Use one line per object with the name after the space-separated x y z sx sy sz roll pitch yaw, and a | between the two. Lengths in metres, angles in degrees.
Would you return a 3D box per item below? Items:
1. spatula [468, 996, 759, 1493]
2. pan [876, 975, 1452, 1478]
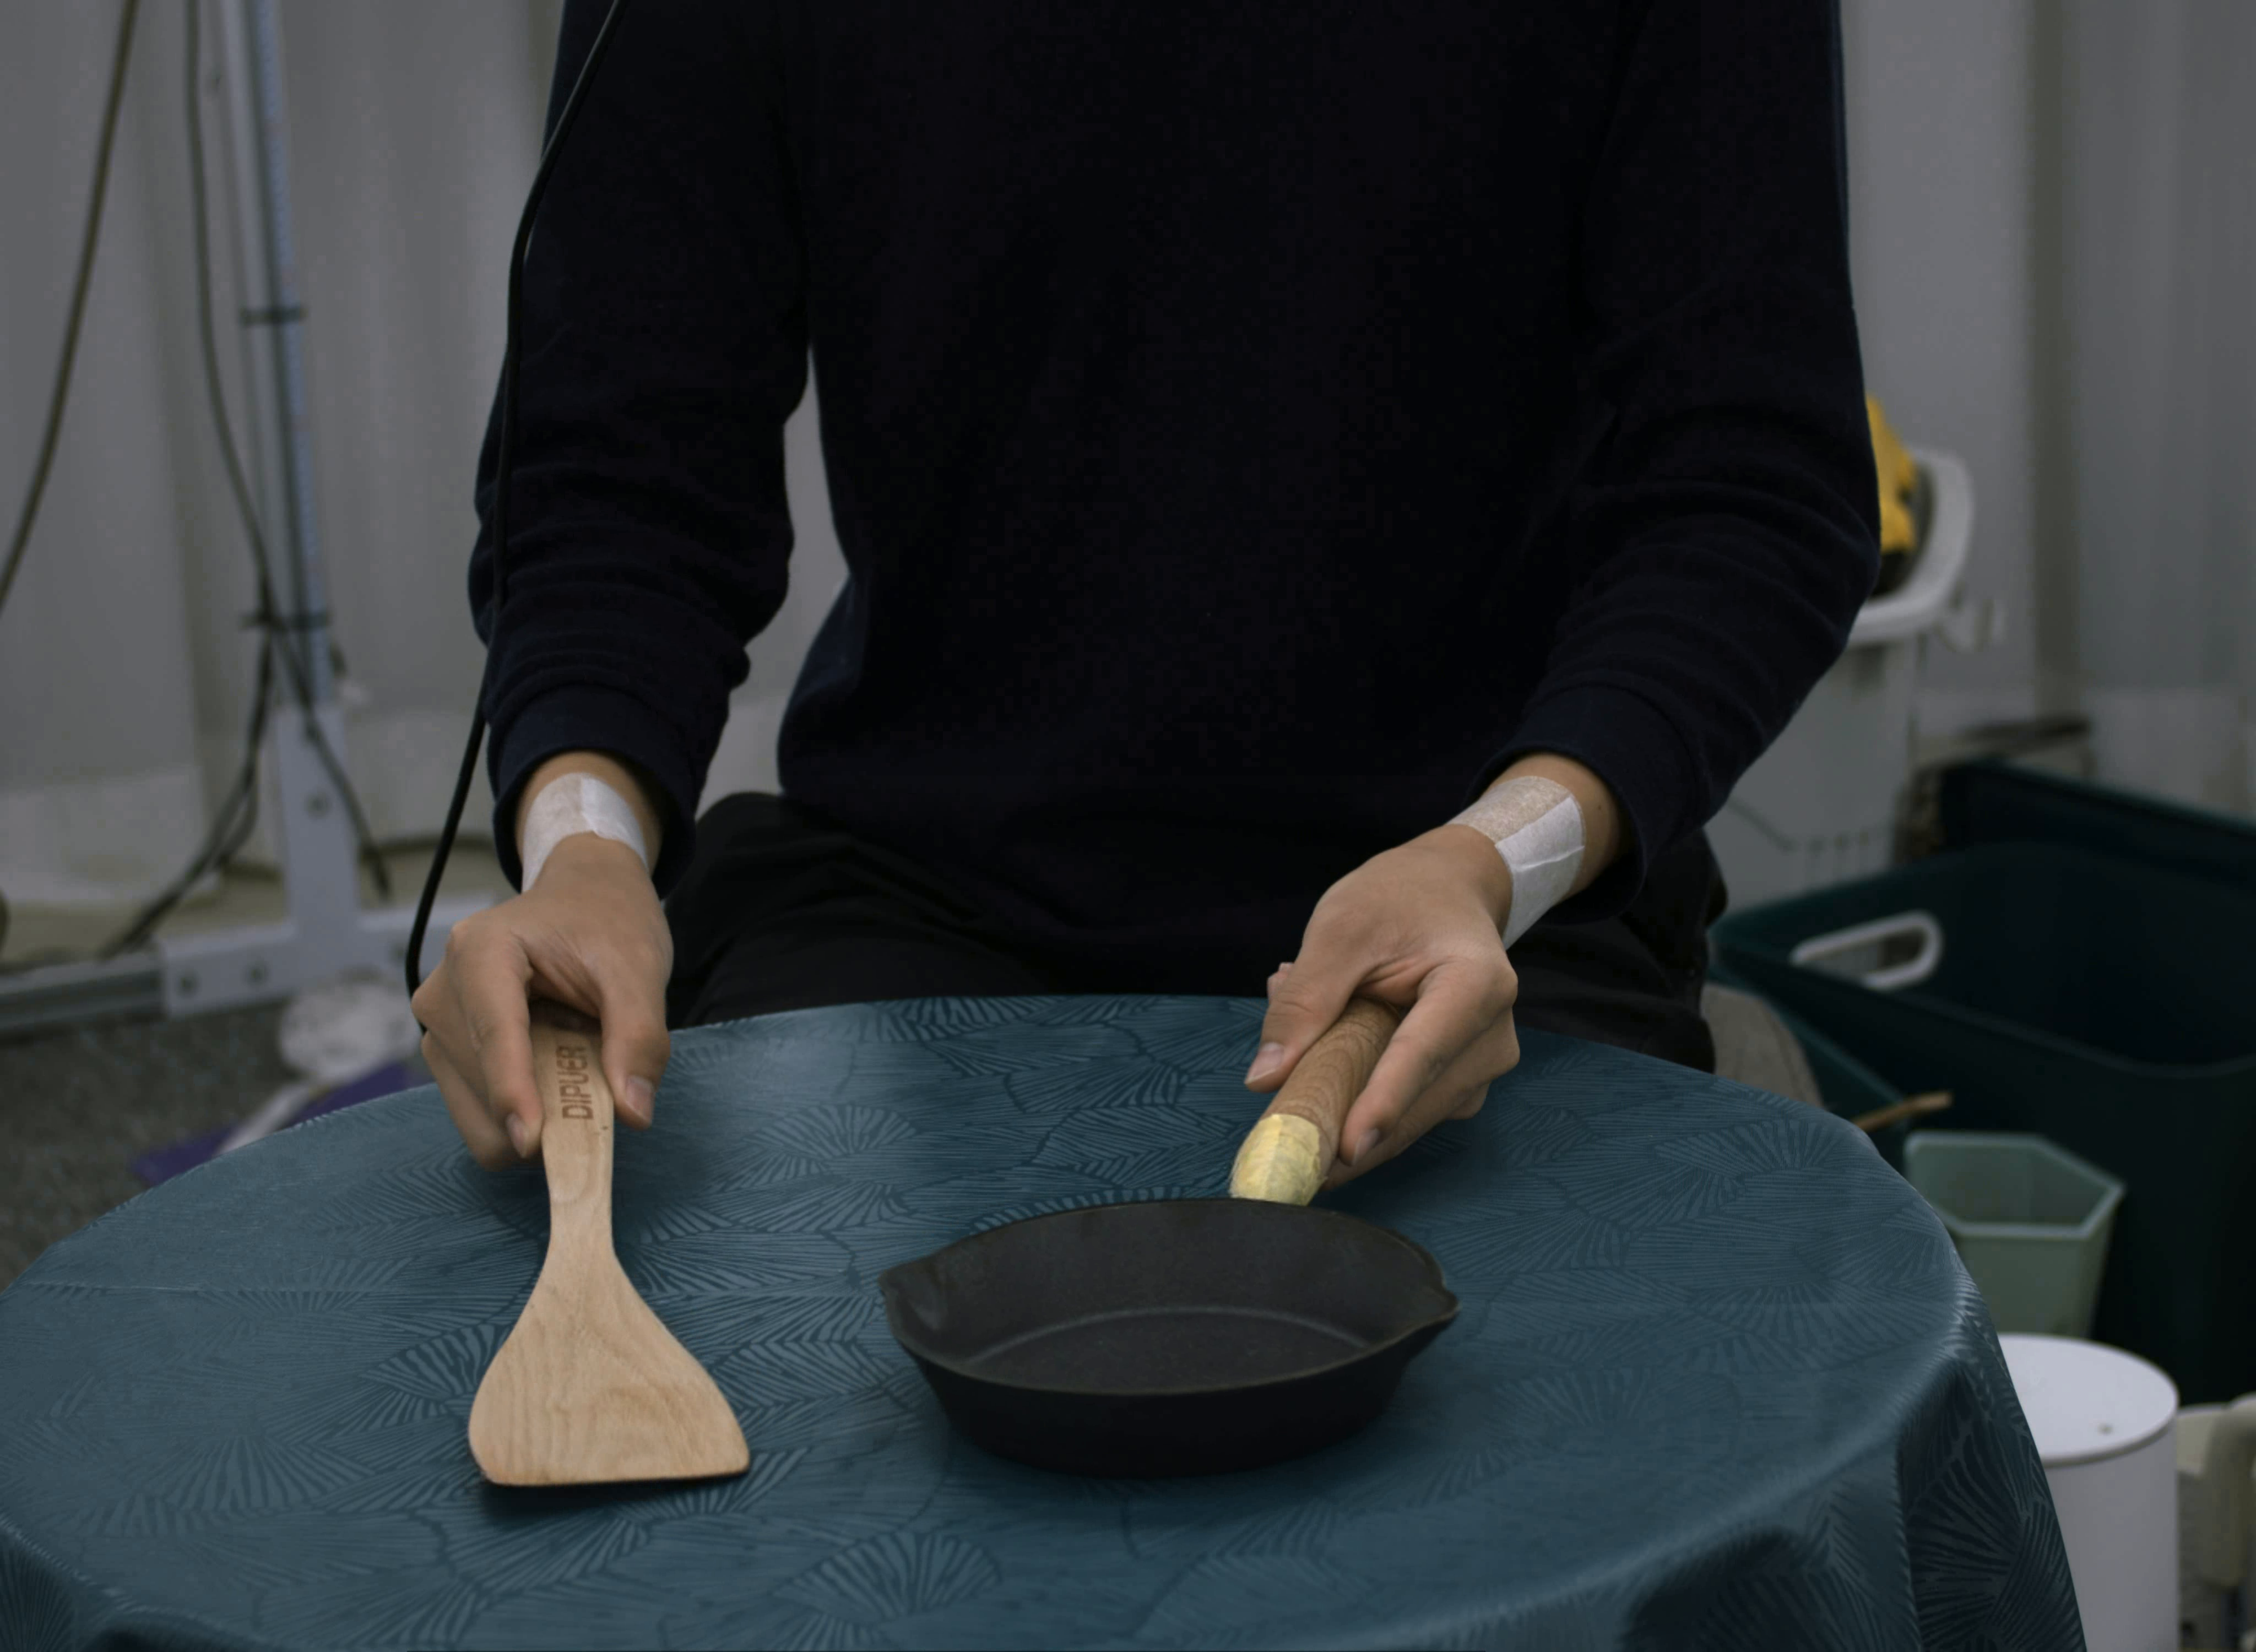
-0.160 0.120 1.627 0.079 0.016 0.331 2 24 -9 | spatula
0.037 0.115 1.611 0.169 0.049 0.325 2 17 20 | pan
